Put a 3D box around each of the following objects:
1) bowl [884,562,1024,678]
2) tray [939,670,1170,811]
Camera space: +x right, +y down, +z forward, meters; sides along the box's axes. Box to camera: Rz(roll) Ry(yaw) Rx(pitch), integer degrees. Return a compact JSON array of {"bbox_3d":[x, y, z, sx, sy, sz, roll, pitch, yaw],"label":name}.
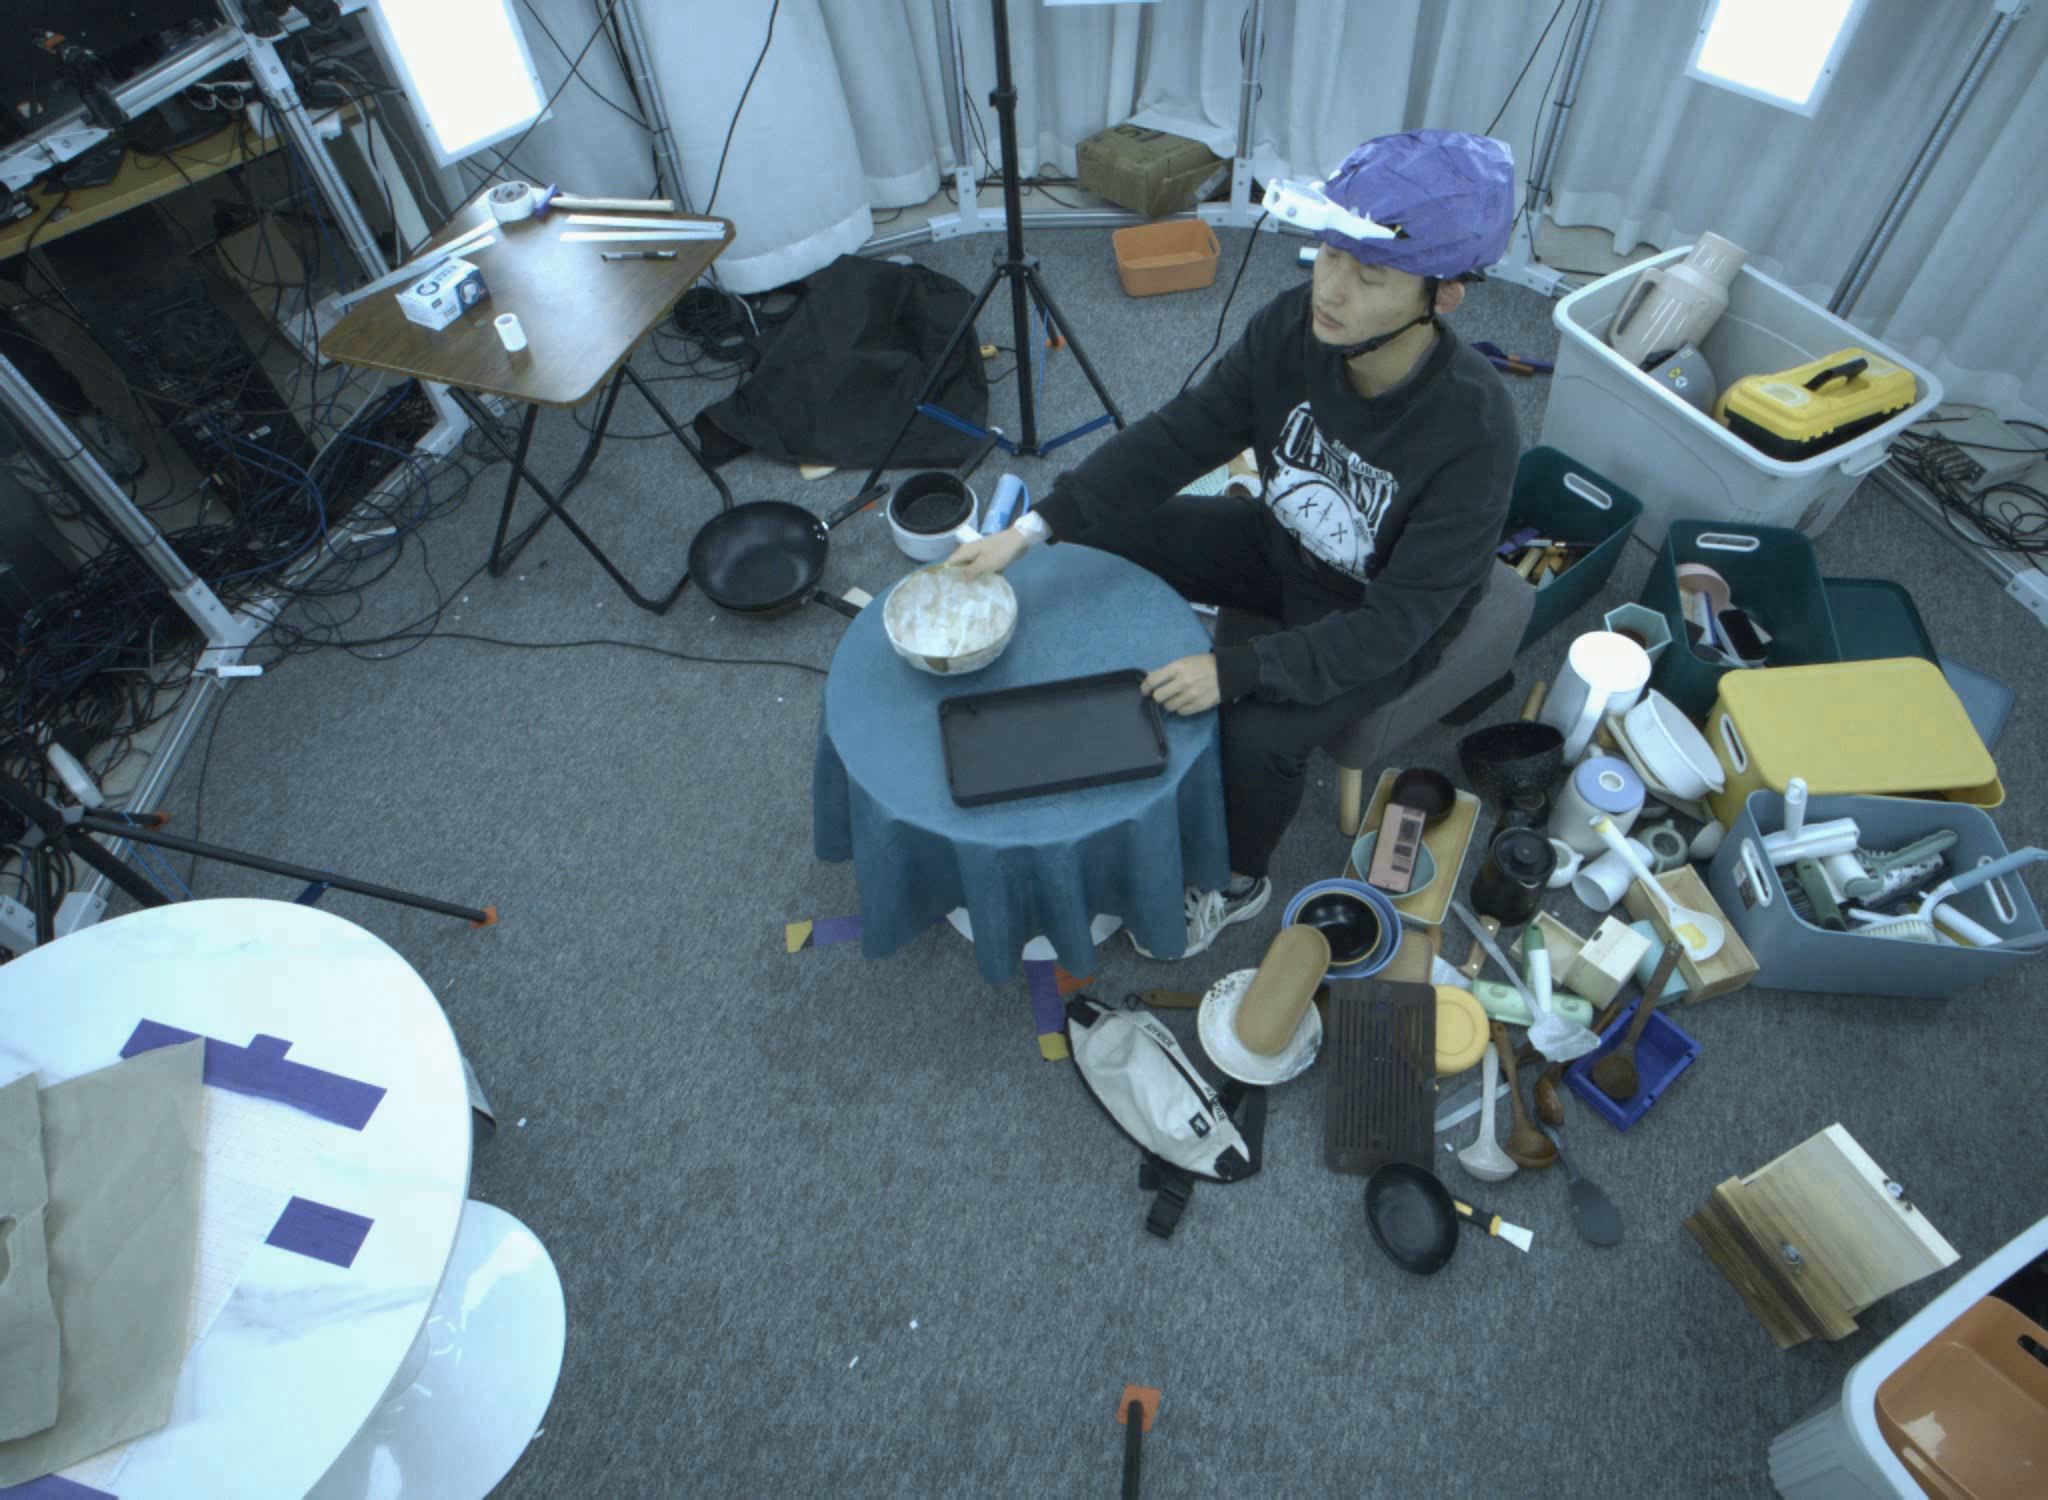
[{"bbox_3d":[-0.102,-0.181,1.865,0.214,0.095,0.212,-1,52,2],"label":"bowl"},{"bbox_3d":[0.042,-0.015,1.788,0.318,0.037,0.182,-9,56,-2],"label":"tray"}]
